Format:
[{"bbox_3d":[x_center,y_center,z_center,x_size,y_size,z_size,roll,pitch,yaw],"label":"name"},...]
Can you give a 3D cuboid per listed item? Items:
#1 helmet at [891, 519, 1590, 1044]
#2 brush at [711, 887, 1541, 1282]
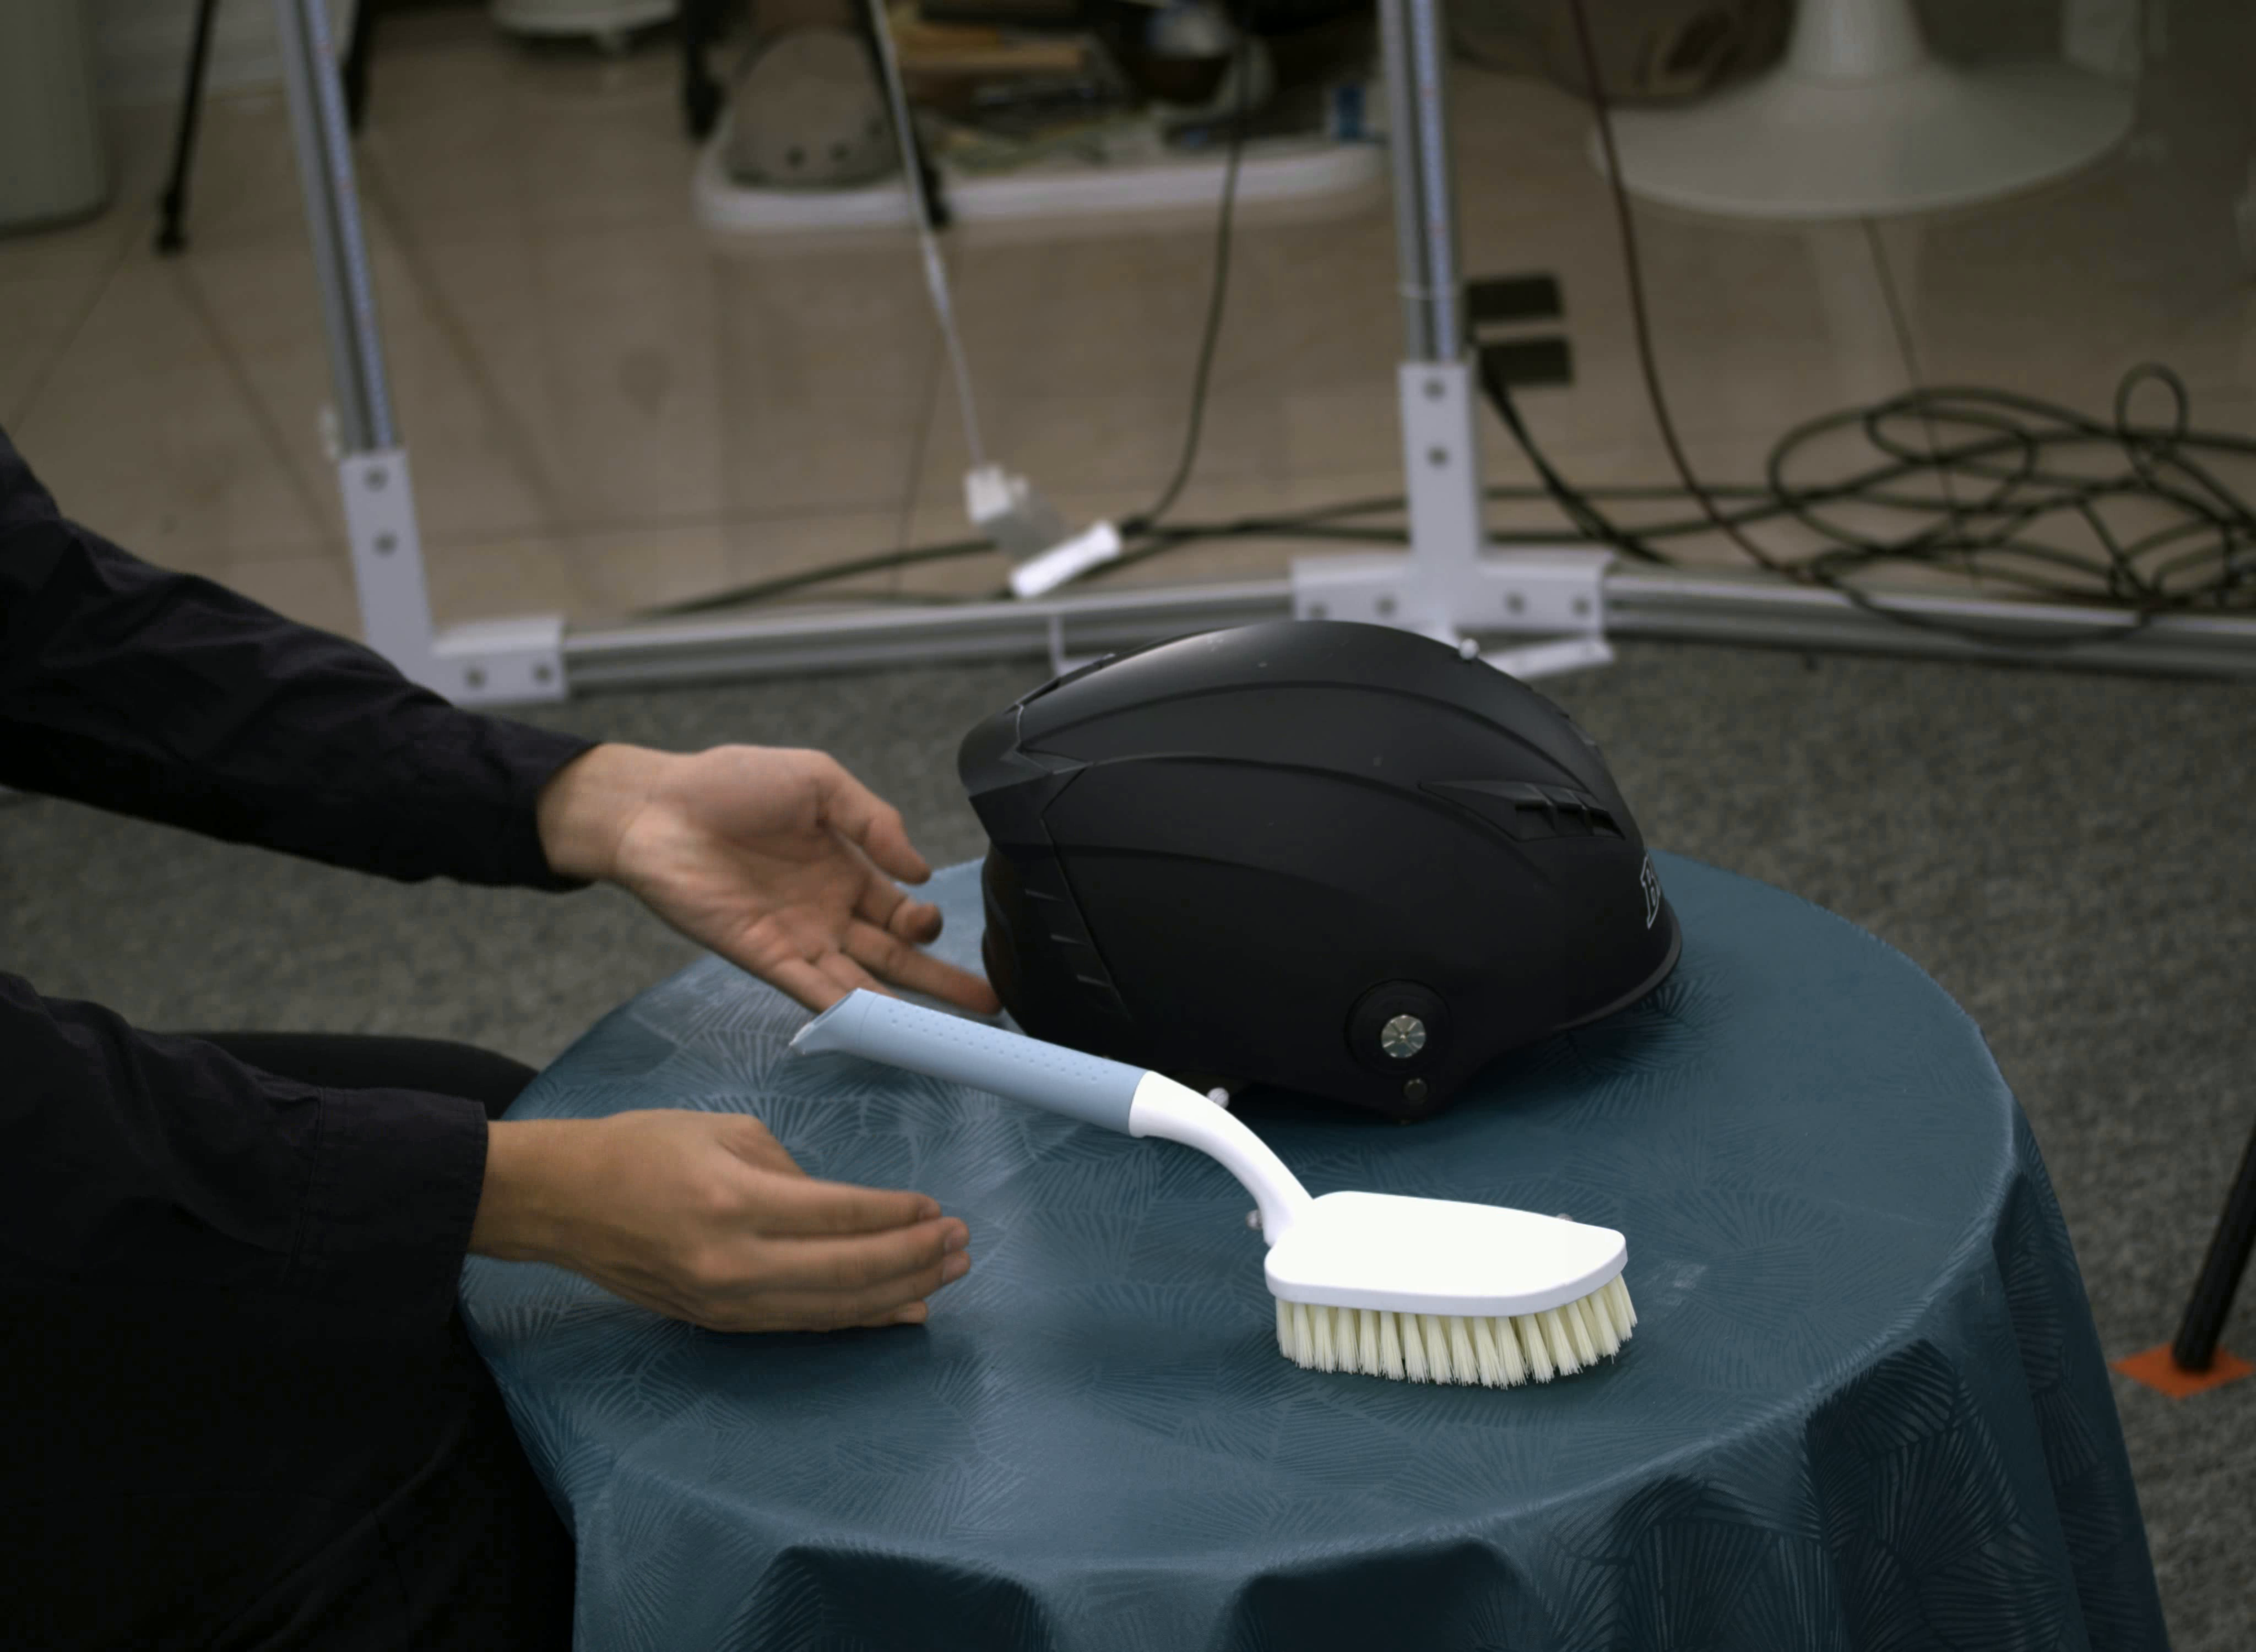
[{"bbox_3d":[0.044,-0.034,2.255,0.276,0.175,0.243,-2,27,4],"label":"helmet"},{"bbox_3d":[-0.004,0.104,2.071,0.324,0.084,0.083,16,-5,16],"label":"brush"}]
